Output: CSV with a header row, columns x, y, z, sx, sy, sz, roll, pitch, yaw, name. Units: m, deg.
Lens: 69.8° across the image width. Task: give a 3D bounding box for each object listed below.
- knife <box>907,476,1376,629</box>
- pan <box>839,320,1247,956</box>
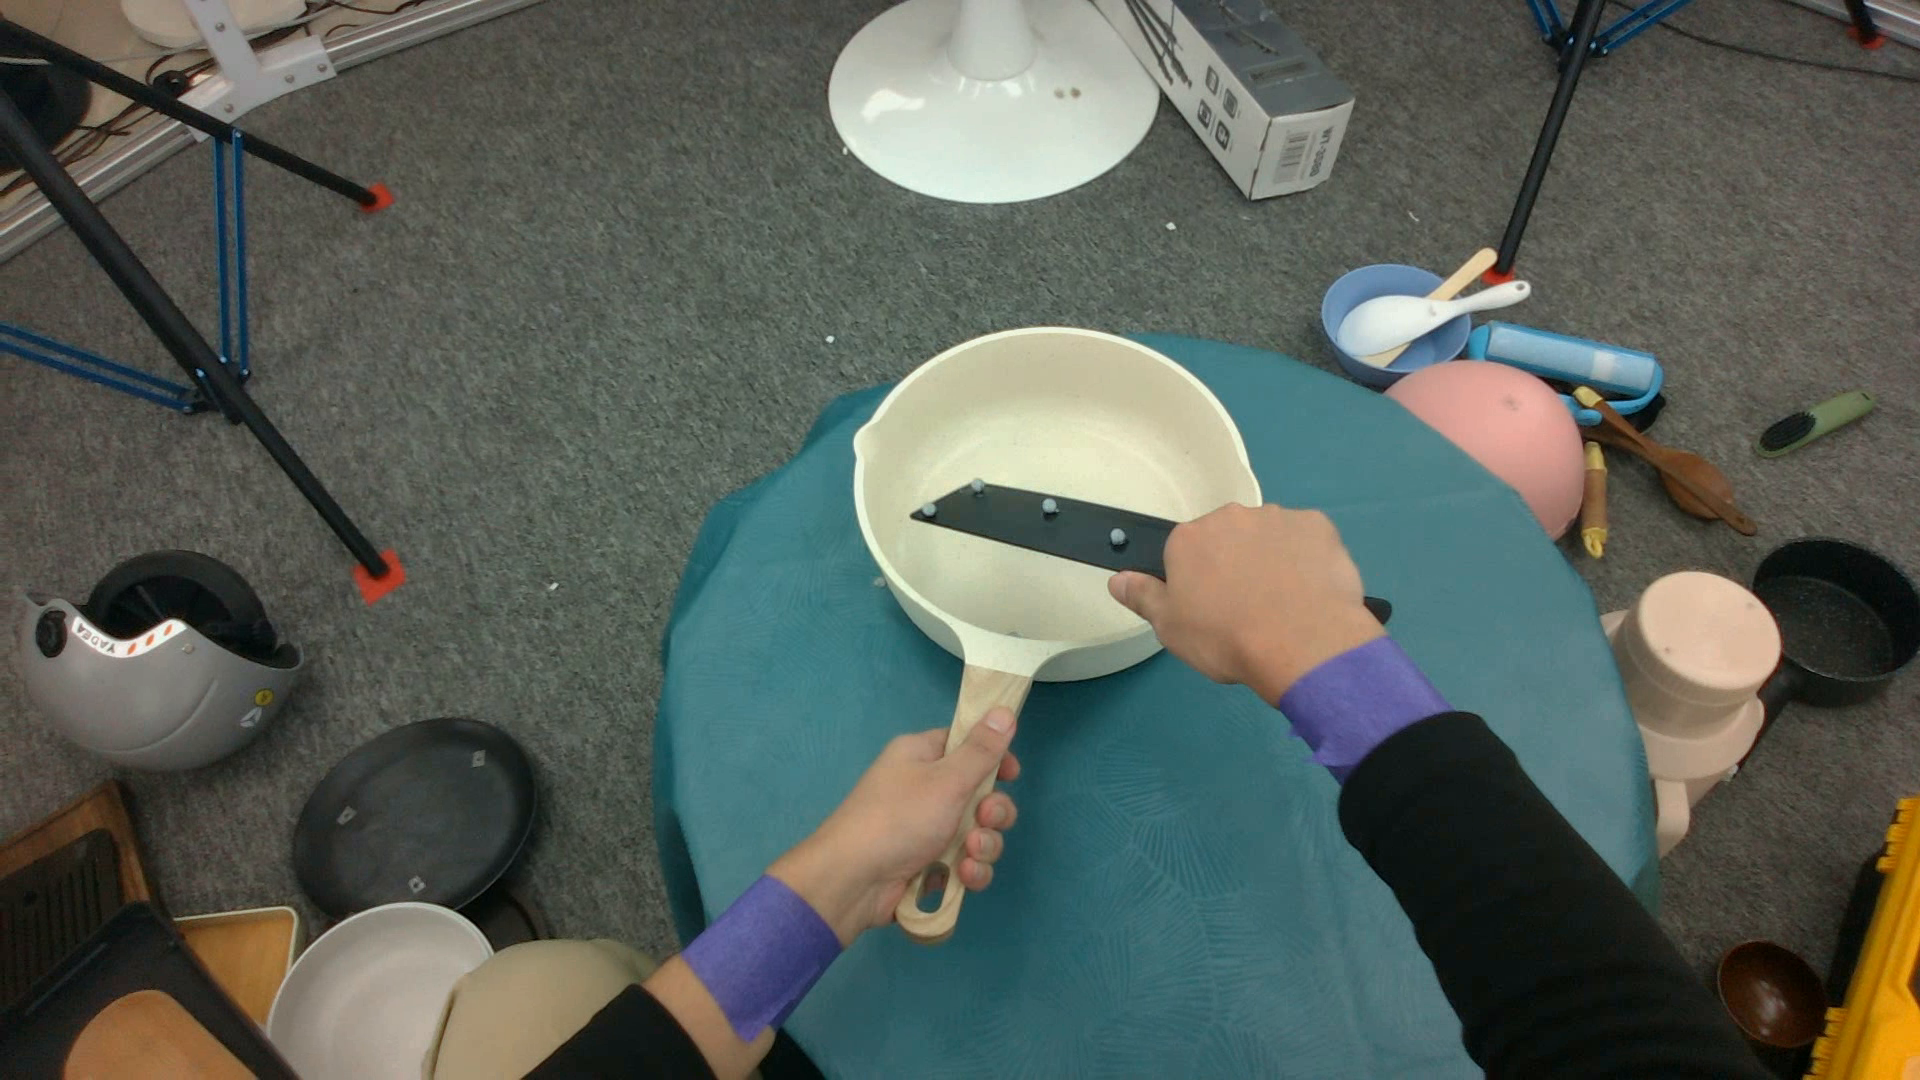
x,y,z,sx,sy,sz,roll,pitch,yaw,name
0.090,-0.001,0.753,0.081,0.021,0.302,-27,29,-34,knife
0.024,0.052,0.848,0.263,0.101,0.437,15,60,8,pan
